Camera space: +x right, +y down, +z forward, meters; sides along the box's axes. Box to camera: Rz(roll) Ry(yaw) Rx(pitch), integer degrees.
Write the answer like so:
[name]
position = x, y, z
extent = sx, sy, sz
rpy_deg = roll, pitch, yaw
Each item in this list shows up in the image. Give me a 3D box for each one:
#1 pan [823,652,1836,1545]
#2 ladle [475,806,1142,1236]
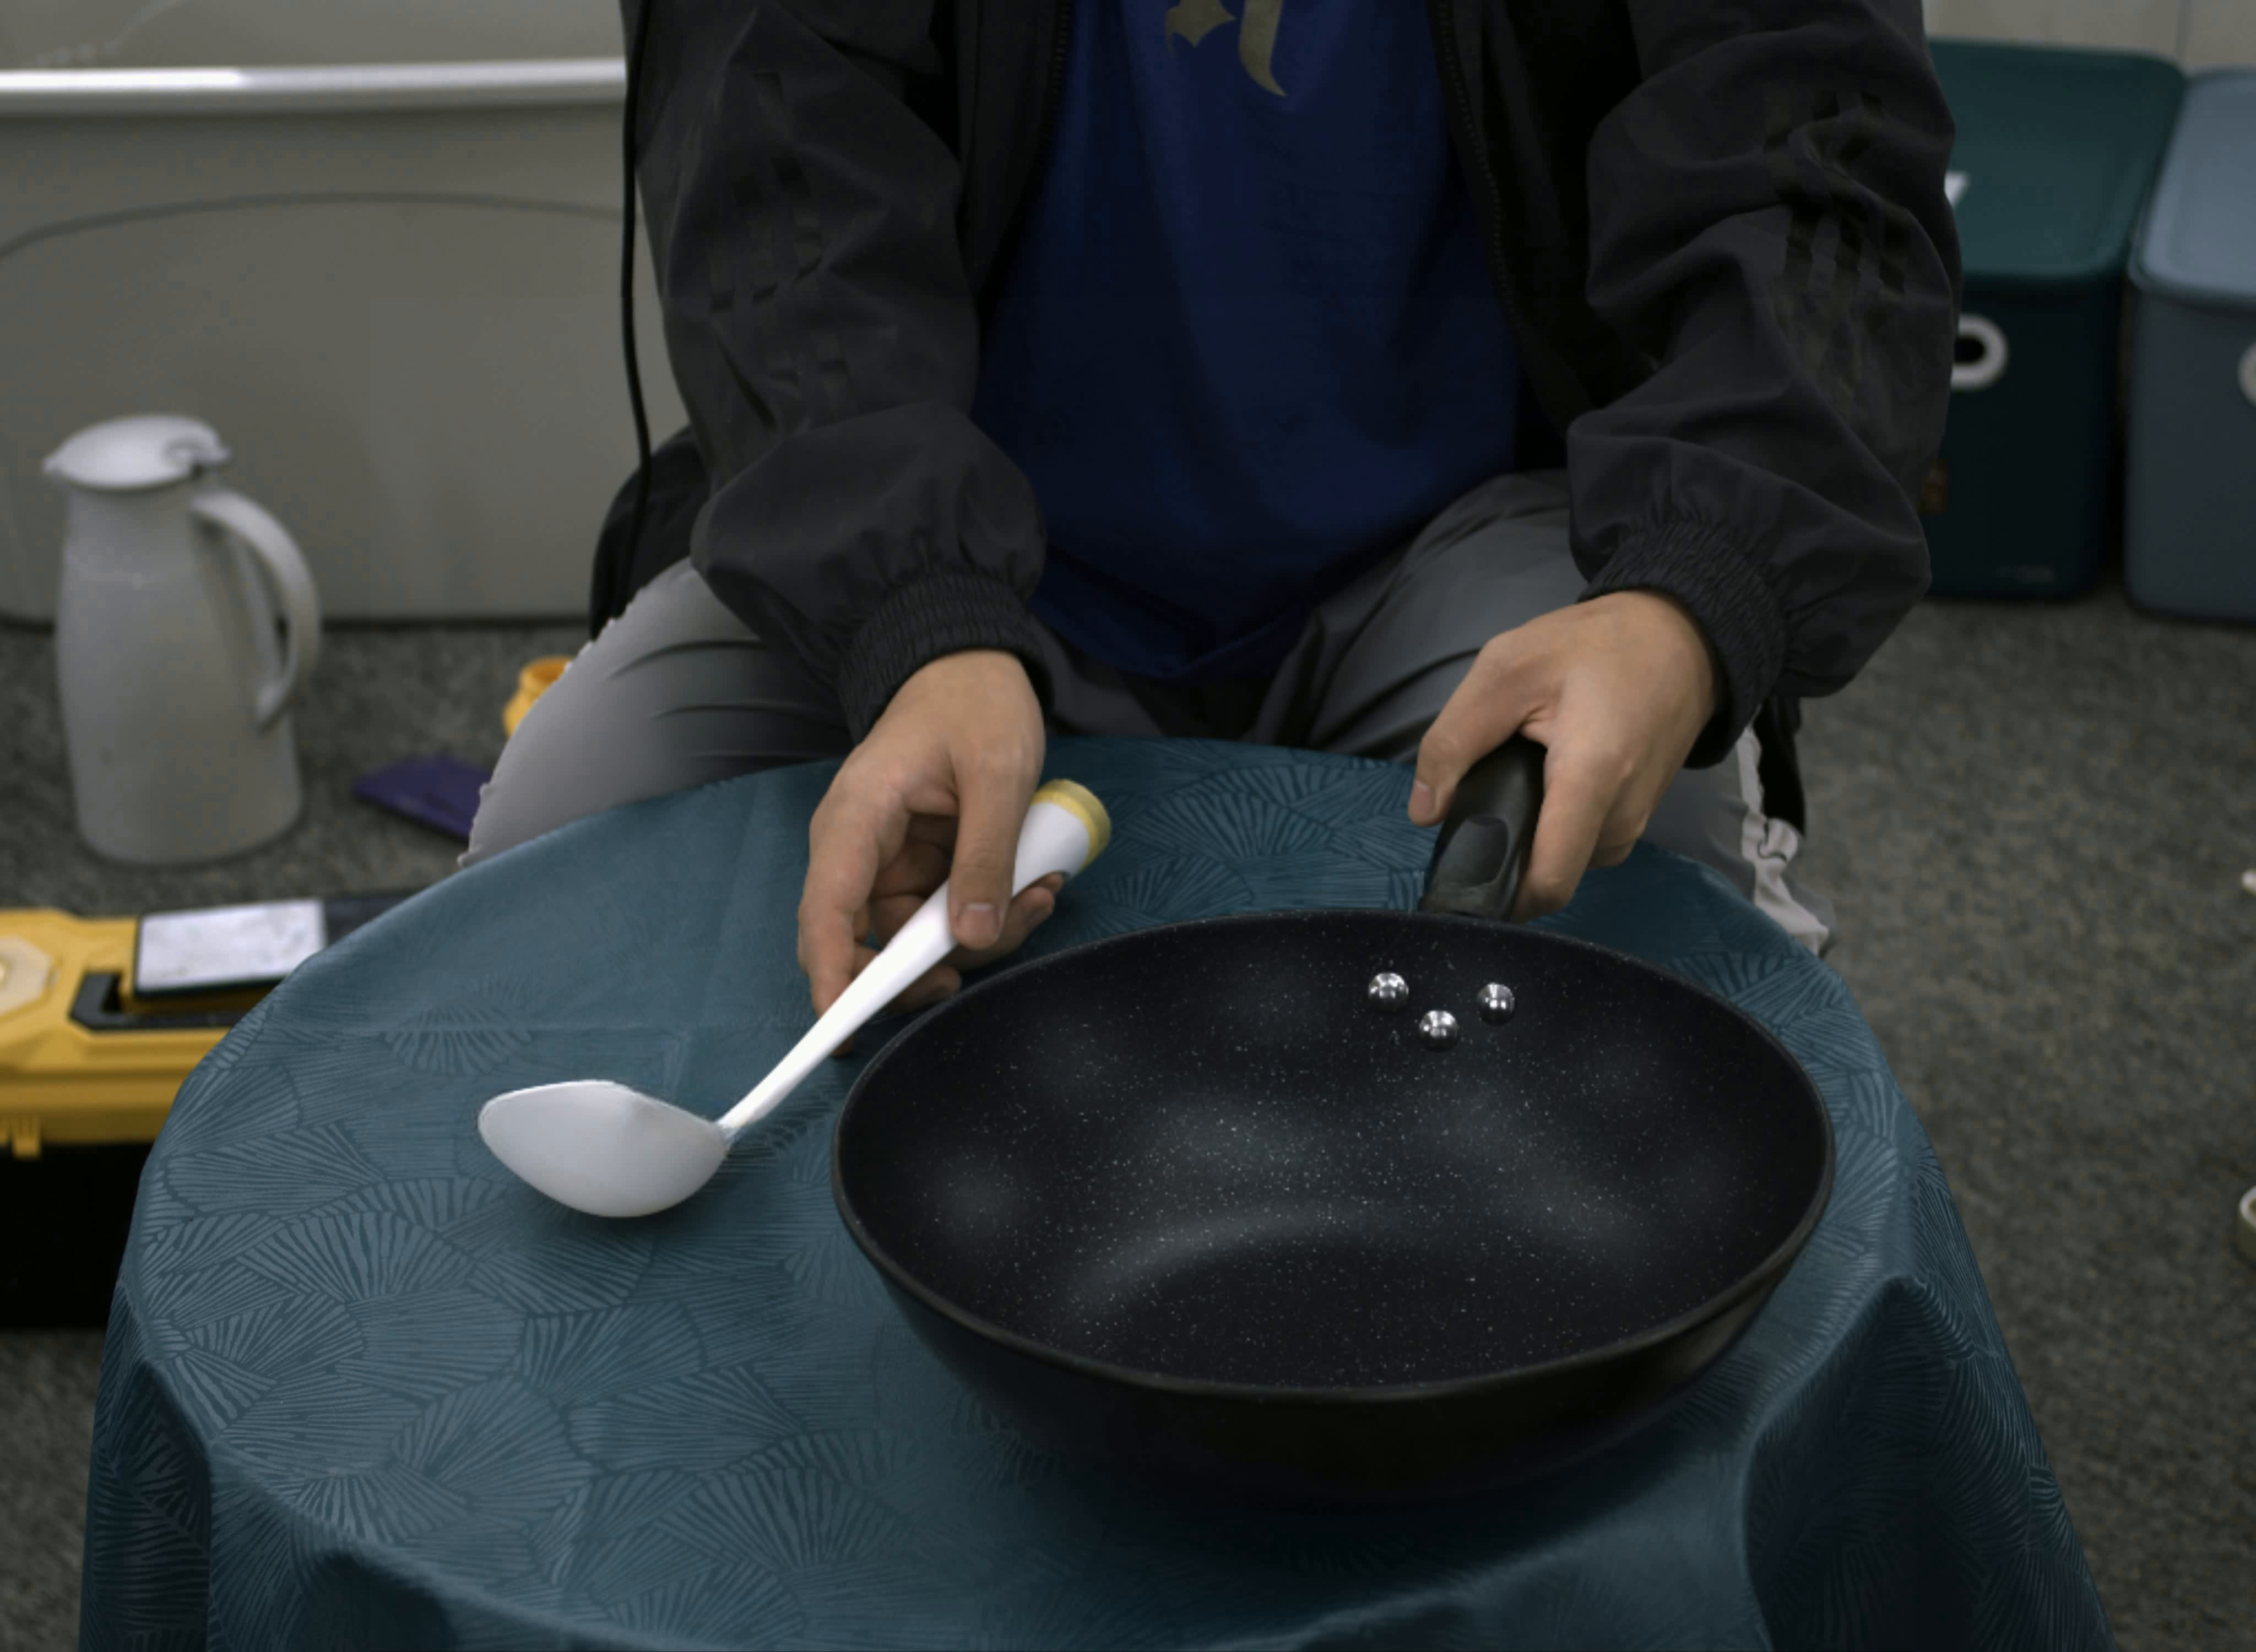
[pan]
position = 0.085, 0.089, 1.803
extent = 0.308, 0.110, 0.485
rpy_deg = 7, 27, 14
[ladle]
position = -0.103, 0.056, 1.933
extent = 0.297, 0.070, 0.088
rpy_deg = -38, 2, -43
